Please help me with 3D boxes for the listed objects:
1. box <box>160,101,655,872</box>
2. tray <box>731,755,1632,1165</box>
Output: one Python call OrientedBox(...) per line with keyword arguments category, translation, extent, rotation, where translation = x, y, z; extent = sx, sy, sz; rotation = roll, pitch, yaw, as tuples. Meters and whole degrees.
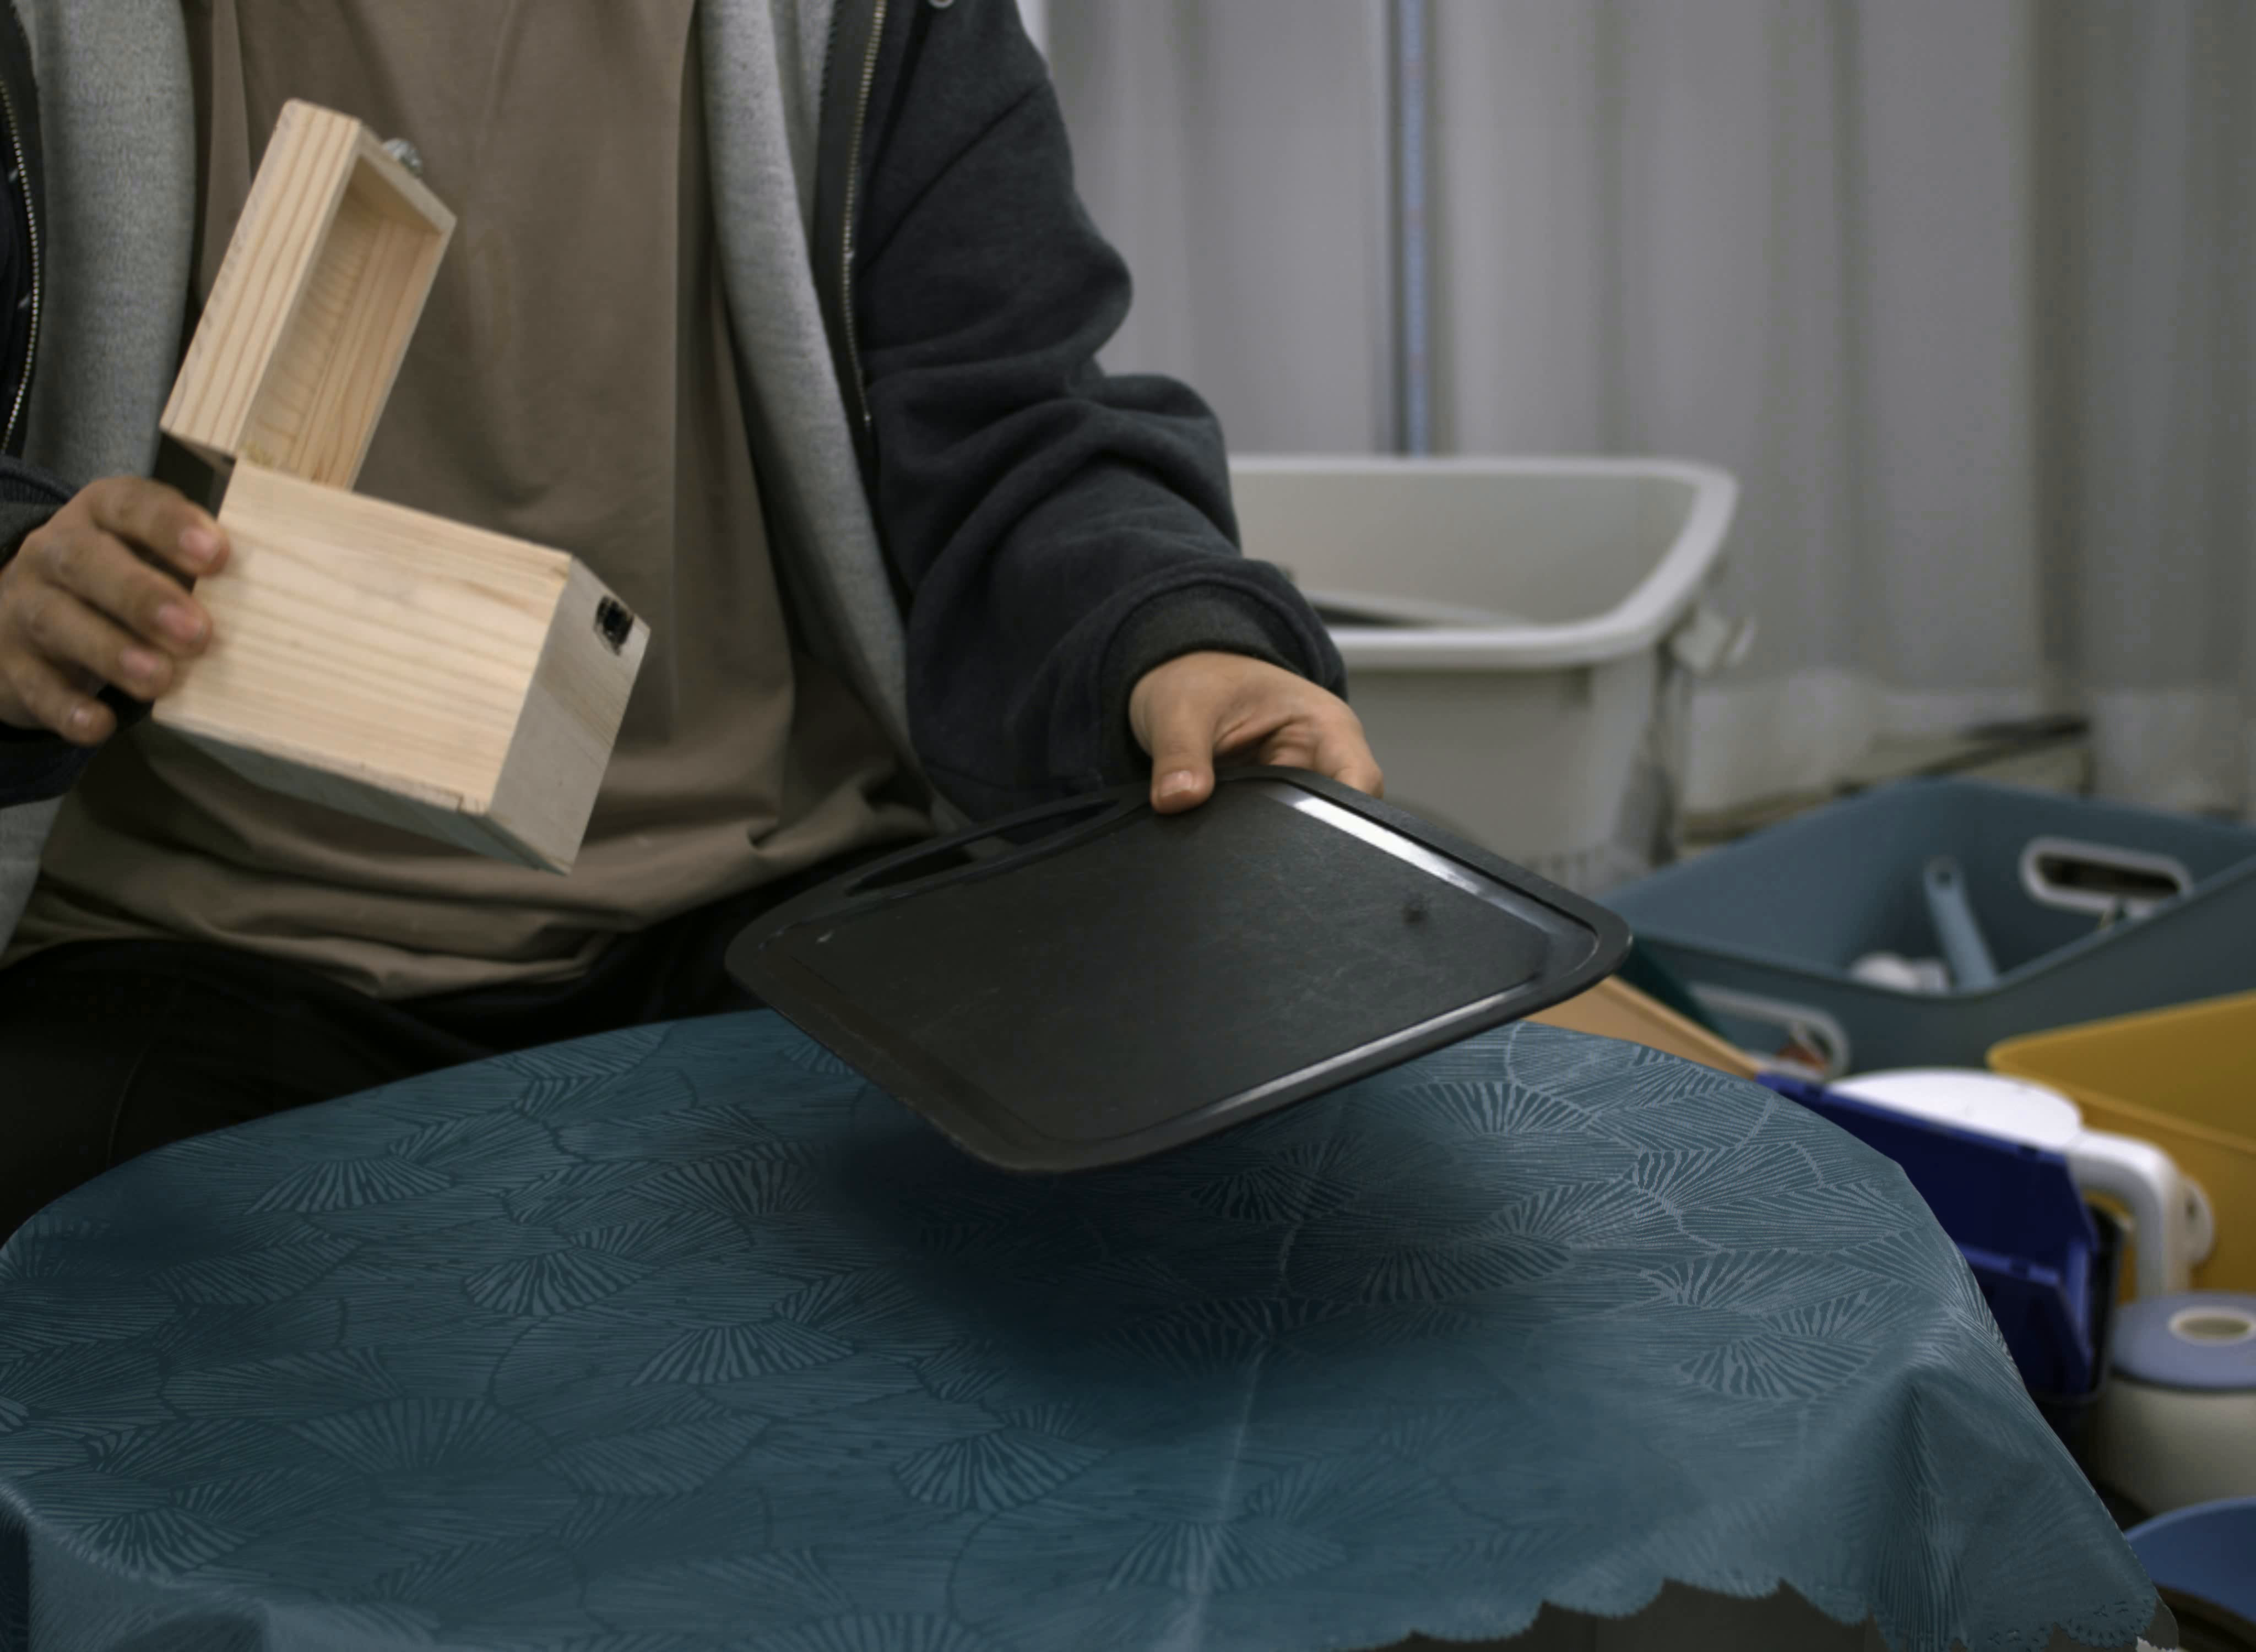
OrientedBox(category="box", translation=(-0.198, -0.096, 1.568), extent=(0.134, 0.185, 0.102), rotation=(14, -7, 10))
OrientedBox(category="tray", translation=(0.005, 0.034, 1.687), extent=(0.210, 0.010, 0.328), rotation=(-20, 19, -17))
